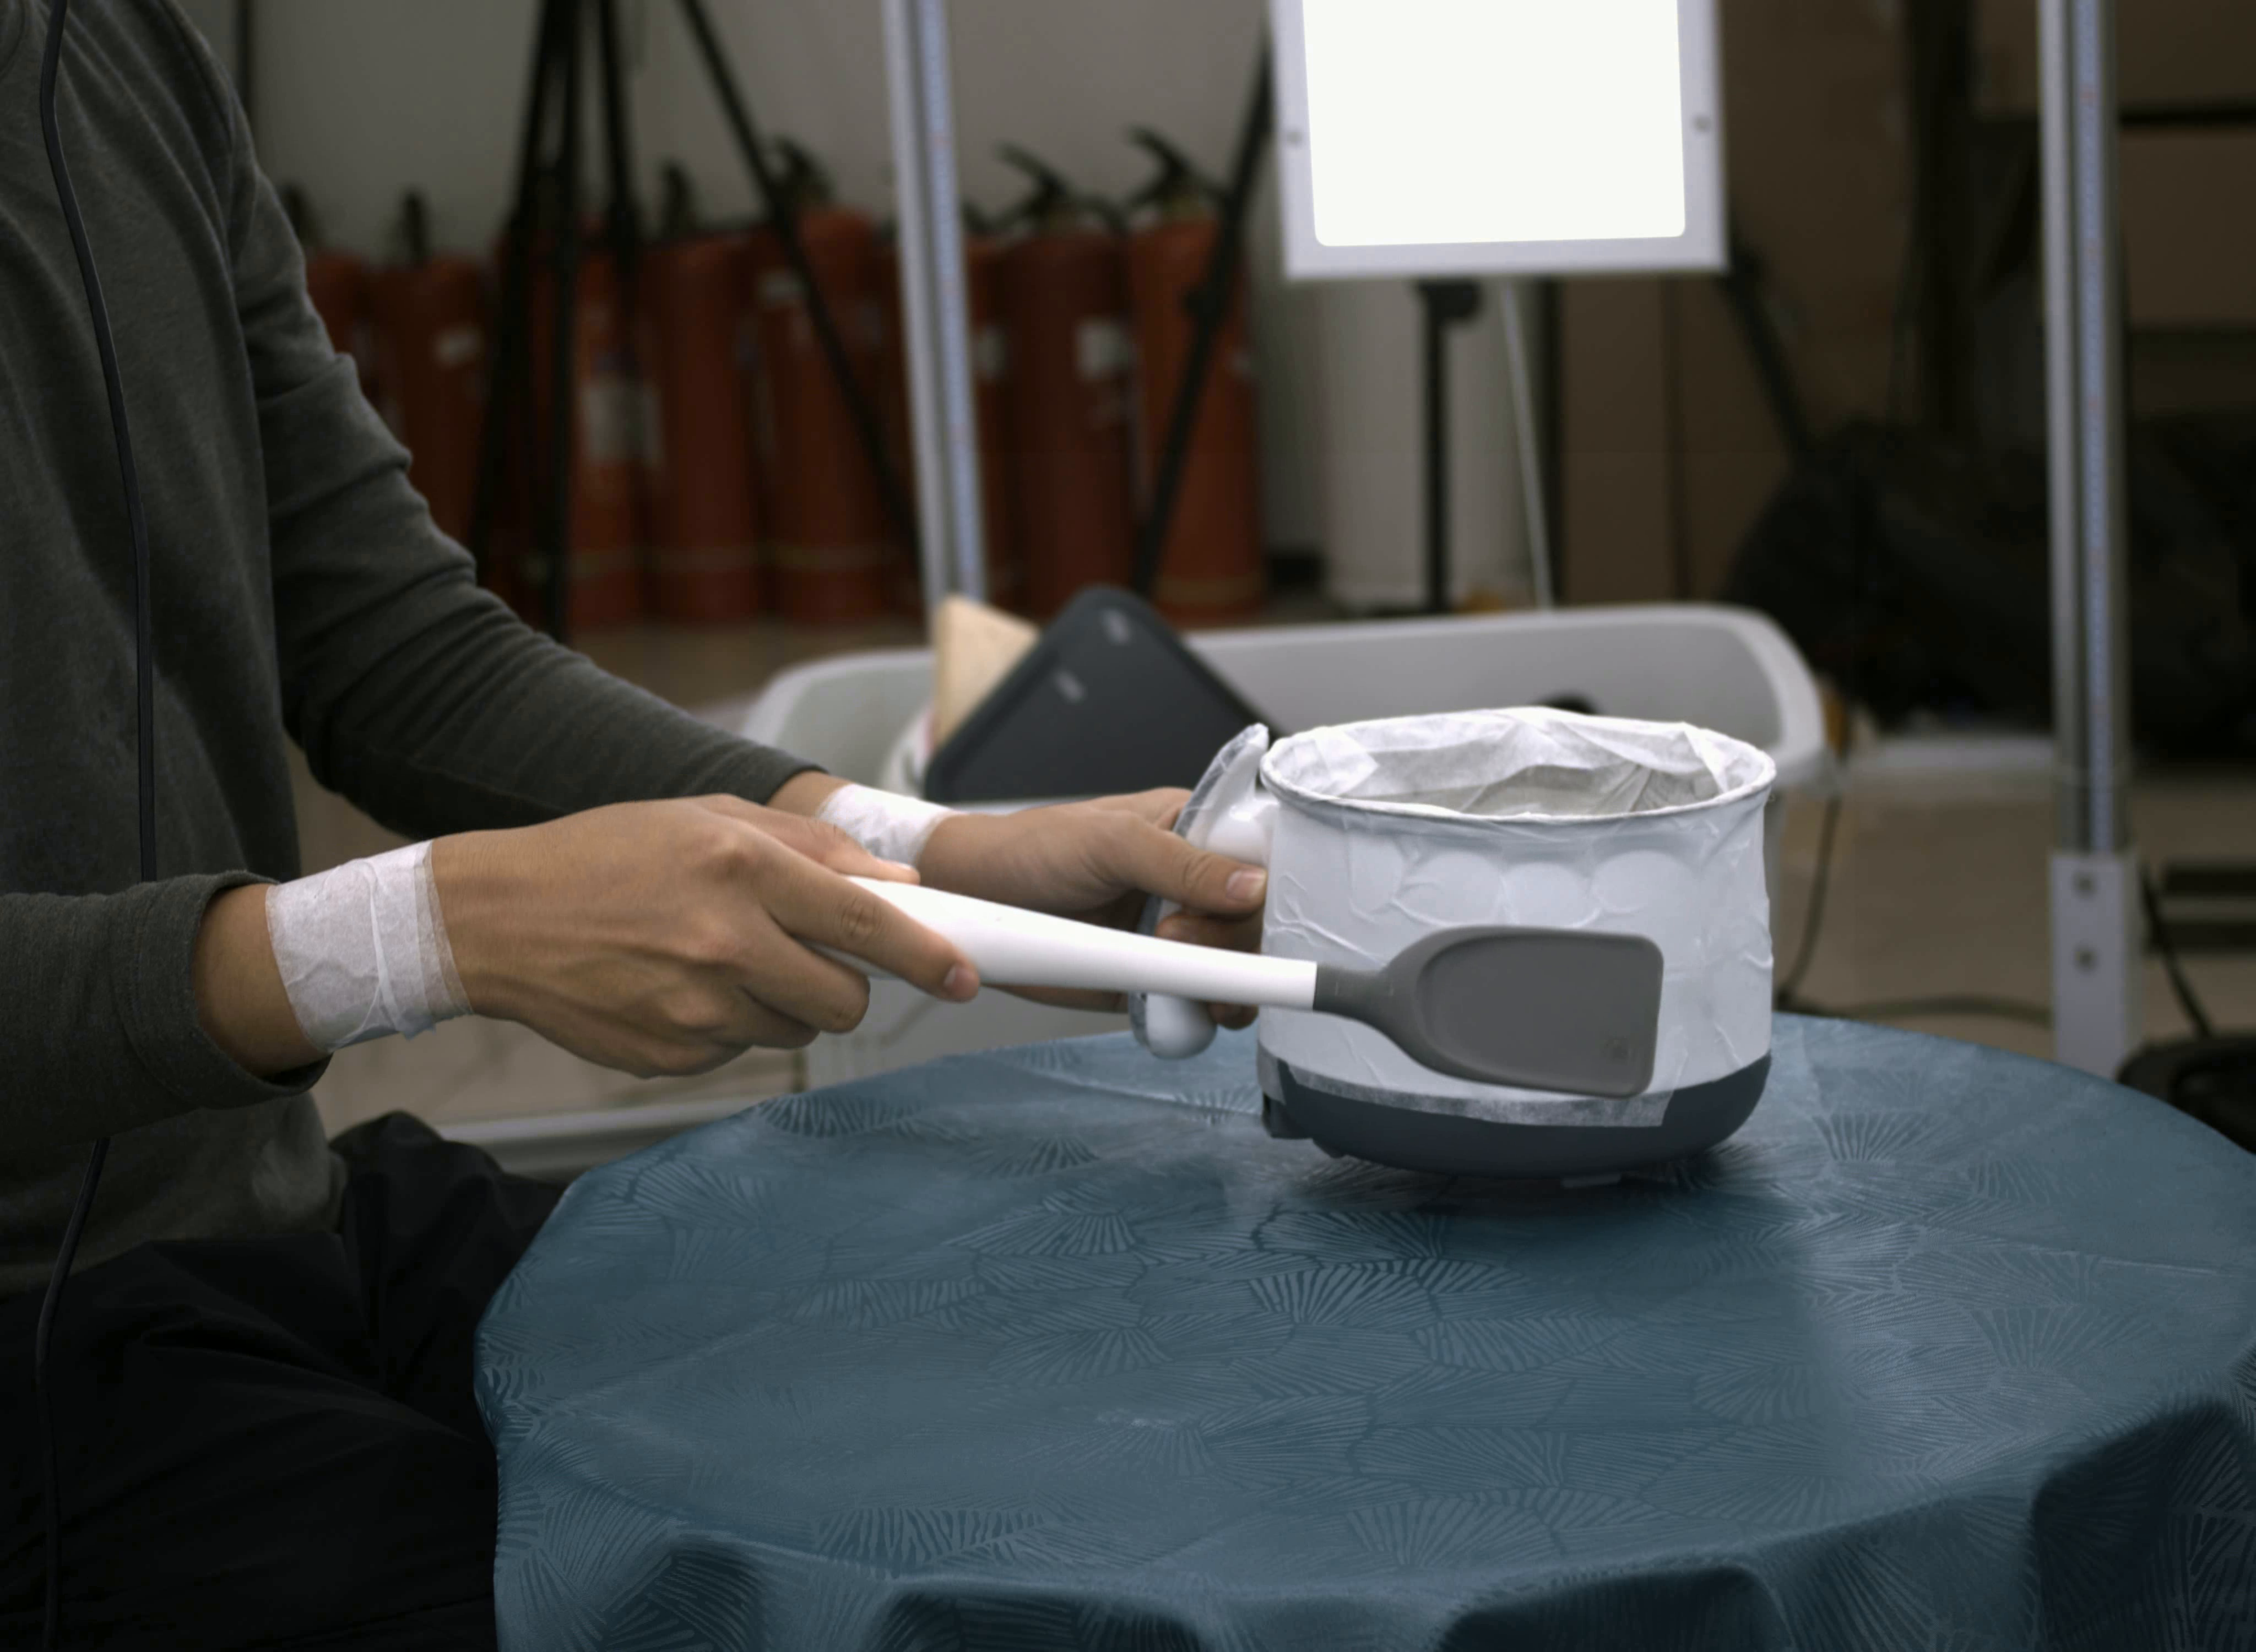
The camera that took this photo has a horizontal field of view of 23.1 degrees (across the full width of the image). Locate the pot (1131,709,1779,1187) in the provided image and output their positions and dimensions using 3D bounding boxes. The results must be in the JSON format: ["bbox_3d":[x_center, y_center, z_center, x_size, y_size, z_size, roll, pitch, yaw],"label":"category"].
[{"bbox_3d":[0.109,0.037,1.899,0.237,0.137,0.175,5,14,26],"label":"pot"}]

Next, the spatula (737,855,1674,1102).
[{"bbox_3d":[0.024,0.042,1.684,0.286,0.058,0.032,7,-15,-1],"label":"spatula"}]
